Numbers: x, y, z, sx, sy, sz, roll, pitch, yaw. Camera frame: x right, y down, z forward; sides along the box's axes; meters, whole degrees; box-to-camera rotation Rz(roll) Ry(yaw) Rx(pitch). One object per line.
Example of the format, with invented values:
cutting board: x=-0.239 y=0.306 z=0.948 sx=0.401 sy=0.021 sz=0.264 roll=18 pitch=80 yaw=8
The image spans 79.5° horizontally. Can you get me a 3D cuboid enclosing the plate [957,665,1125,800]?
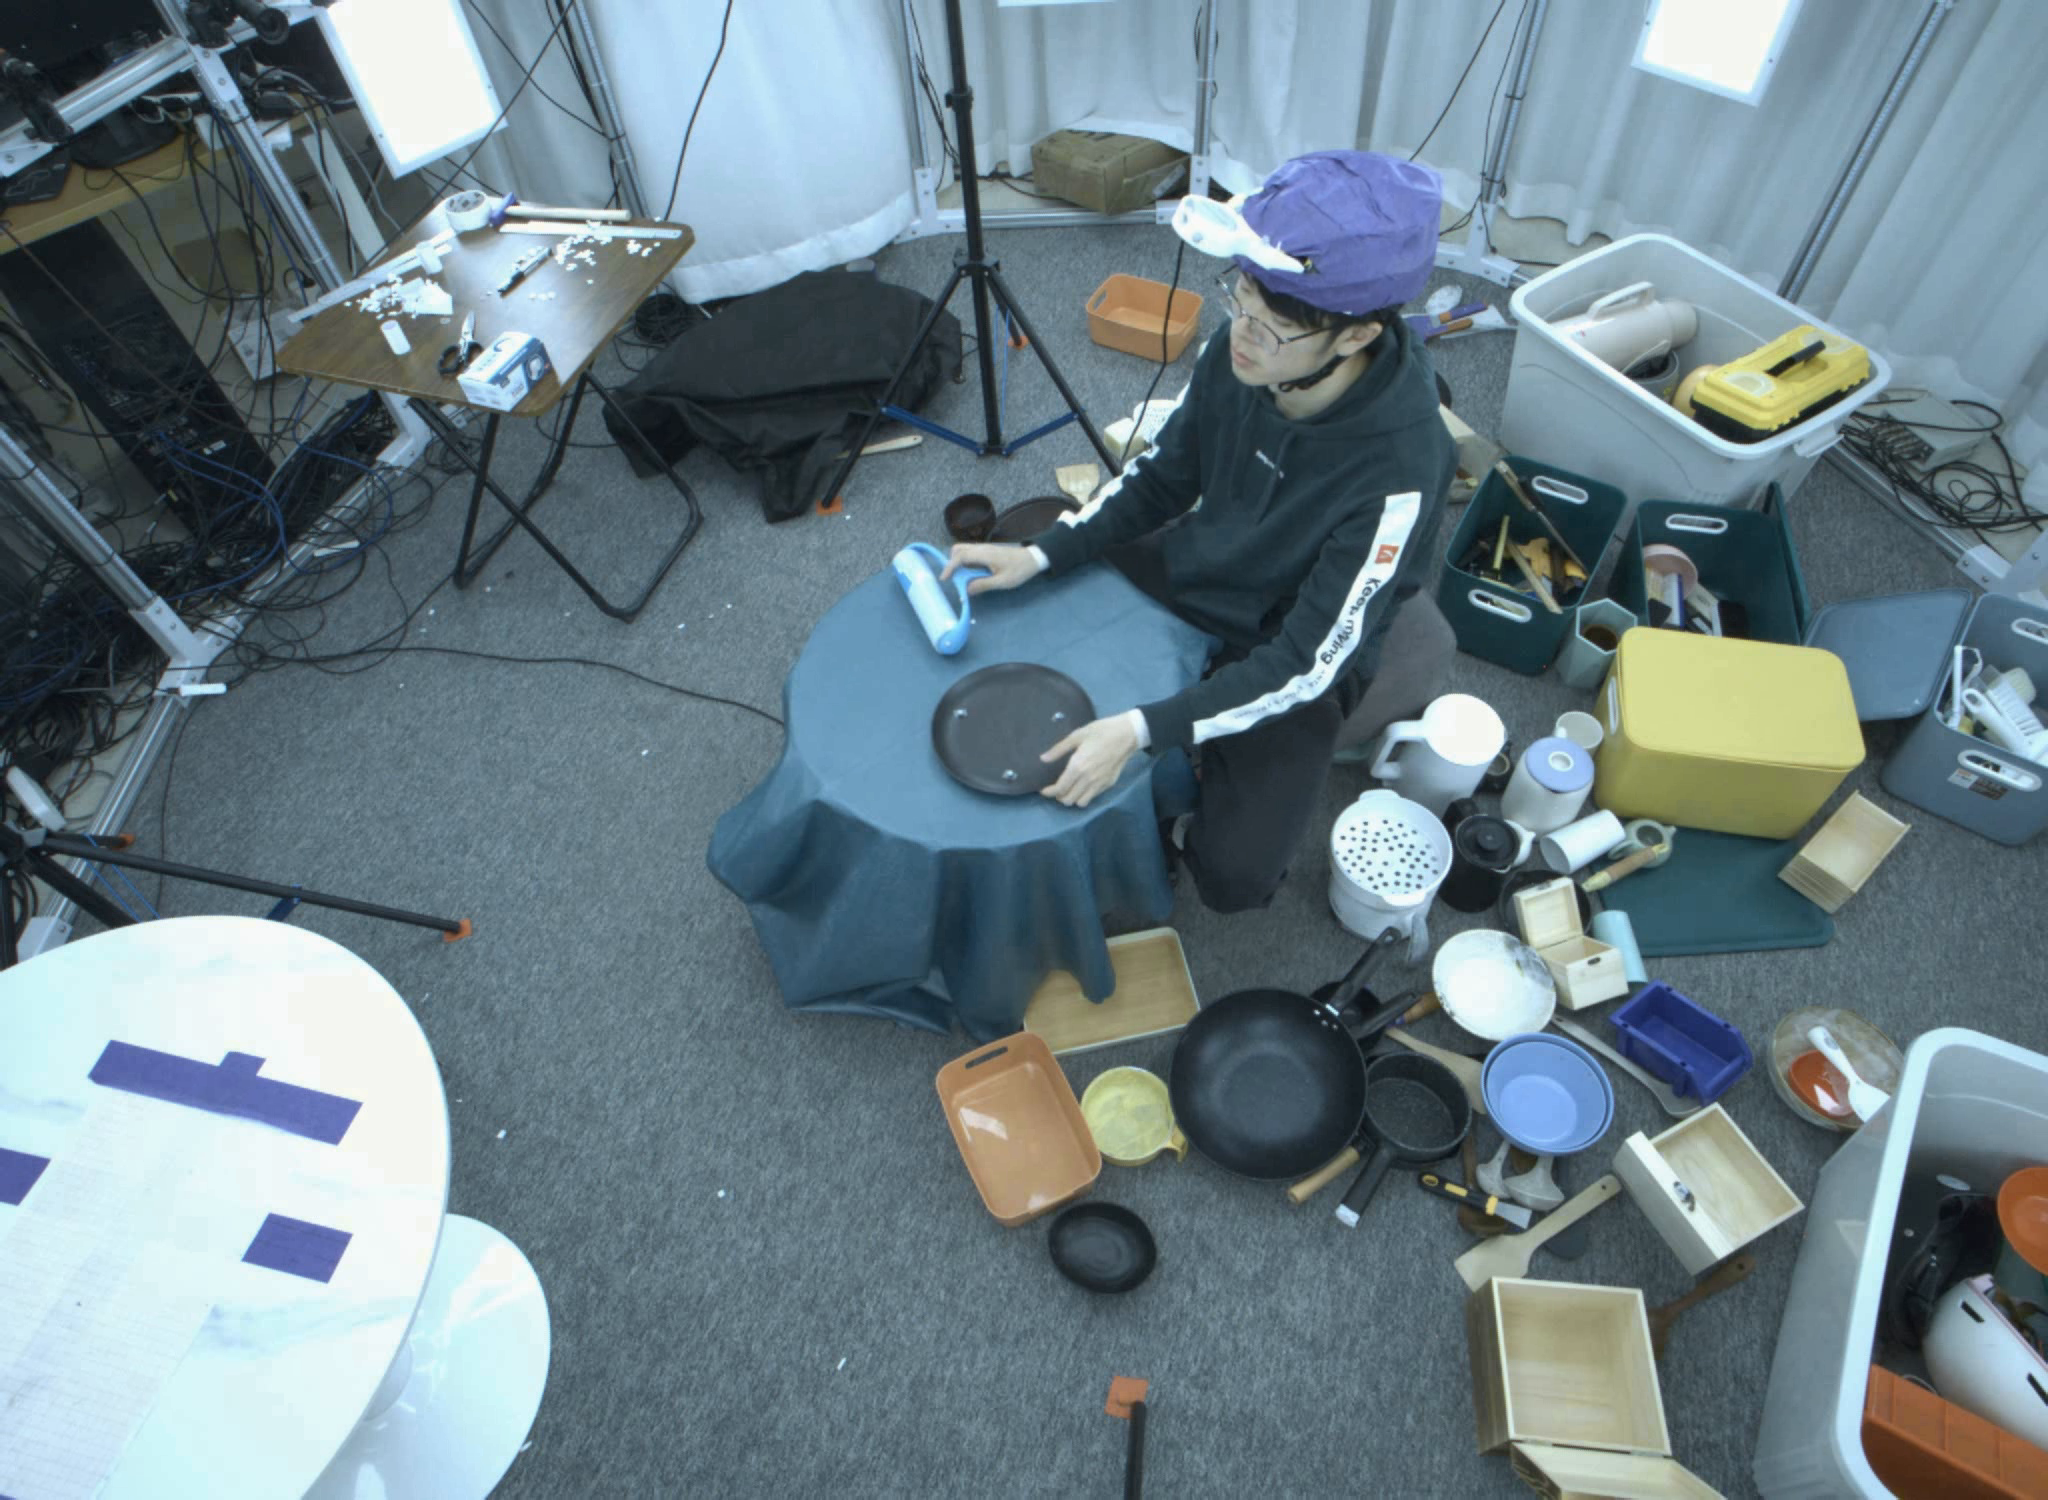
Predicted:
plate: x=0.024 y=-0.024 z=1.785 sx=0.244 sy=0.024 sz=0.242 roll=0 pitch=55 yaw=2

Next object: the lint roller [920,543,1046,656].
lint roller: x=-0.052 y=-0.255 z=1.932 sx=0.181 sy=0.068 sz=0.224 roll=-22 pitch=56 yaw=-14
